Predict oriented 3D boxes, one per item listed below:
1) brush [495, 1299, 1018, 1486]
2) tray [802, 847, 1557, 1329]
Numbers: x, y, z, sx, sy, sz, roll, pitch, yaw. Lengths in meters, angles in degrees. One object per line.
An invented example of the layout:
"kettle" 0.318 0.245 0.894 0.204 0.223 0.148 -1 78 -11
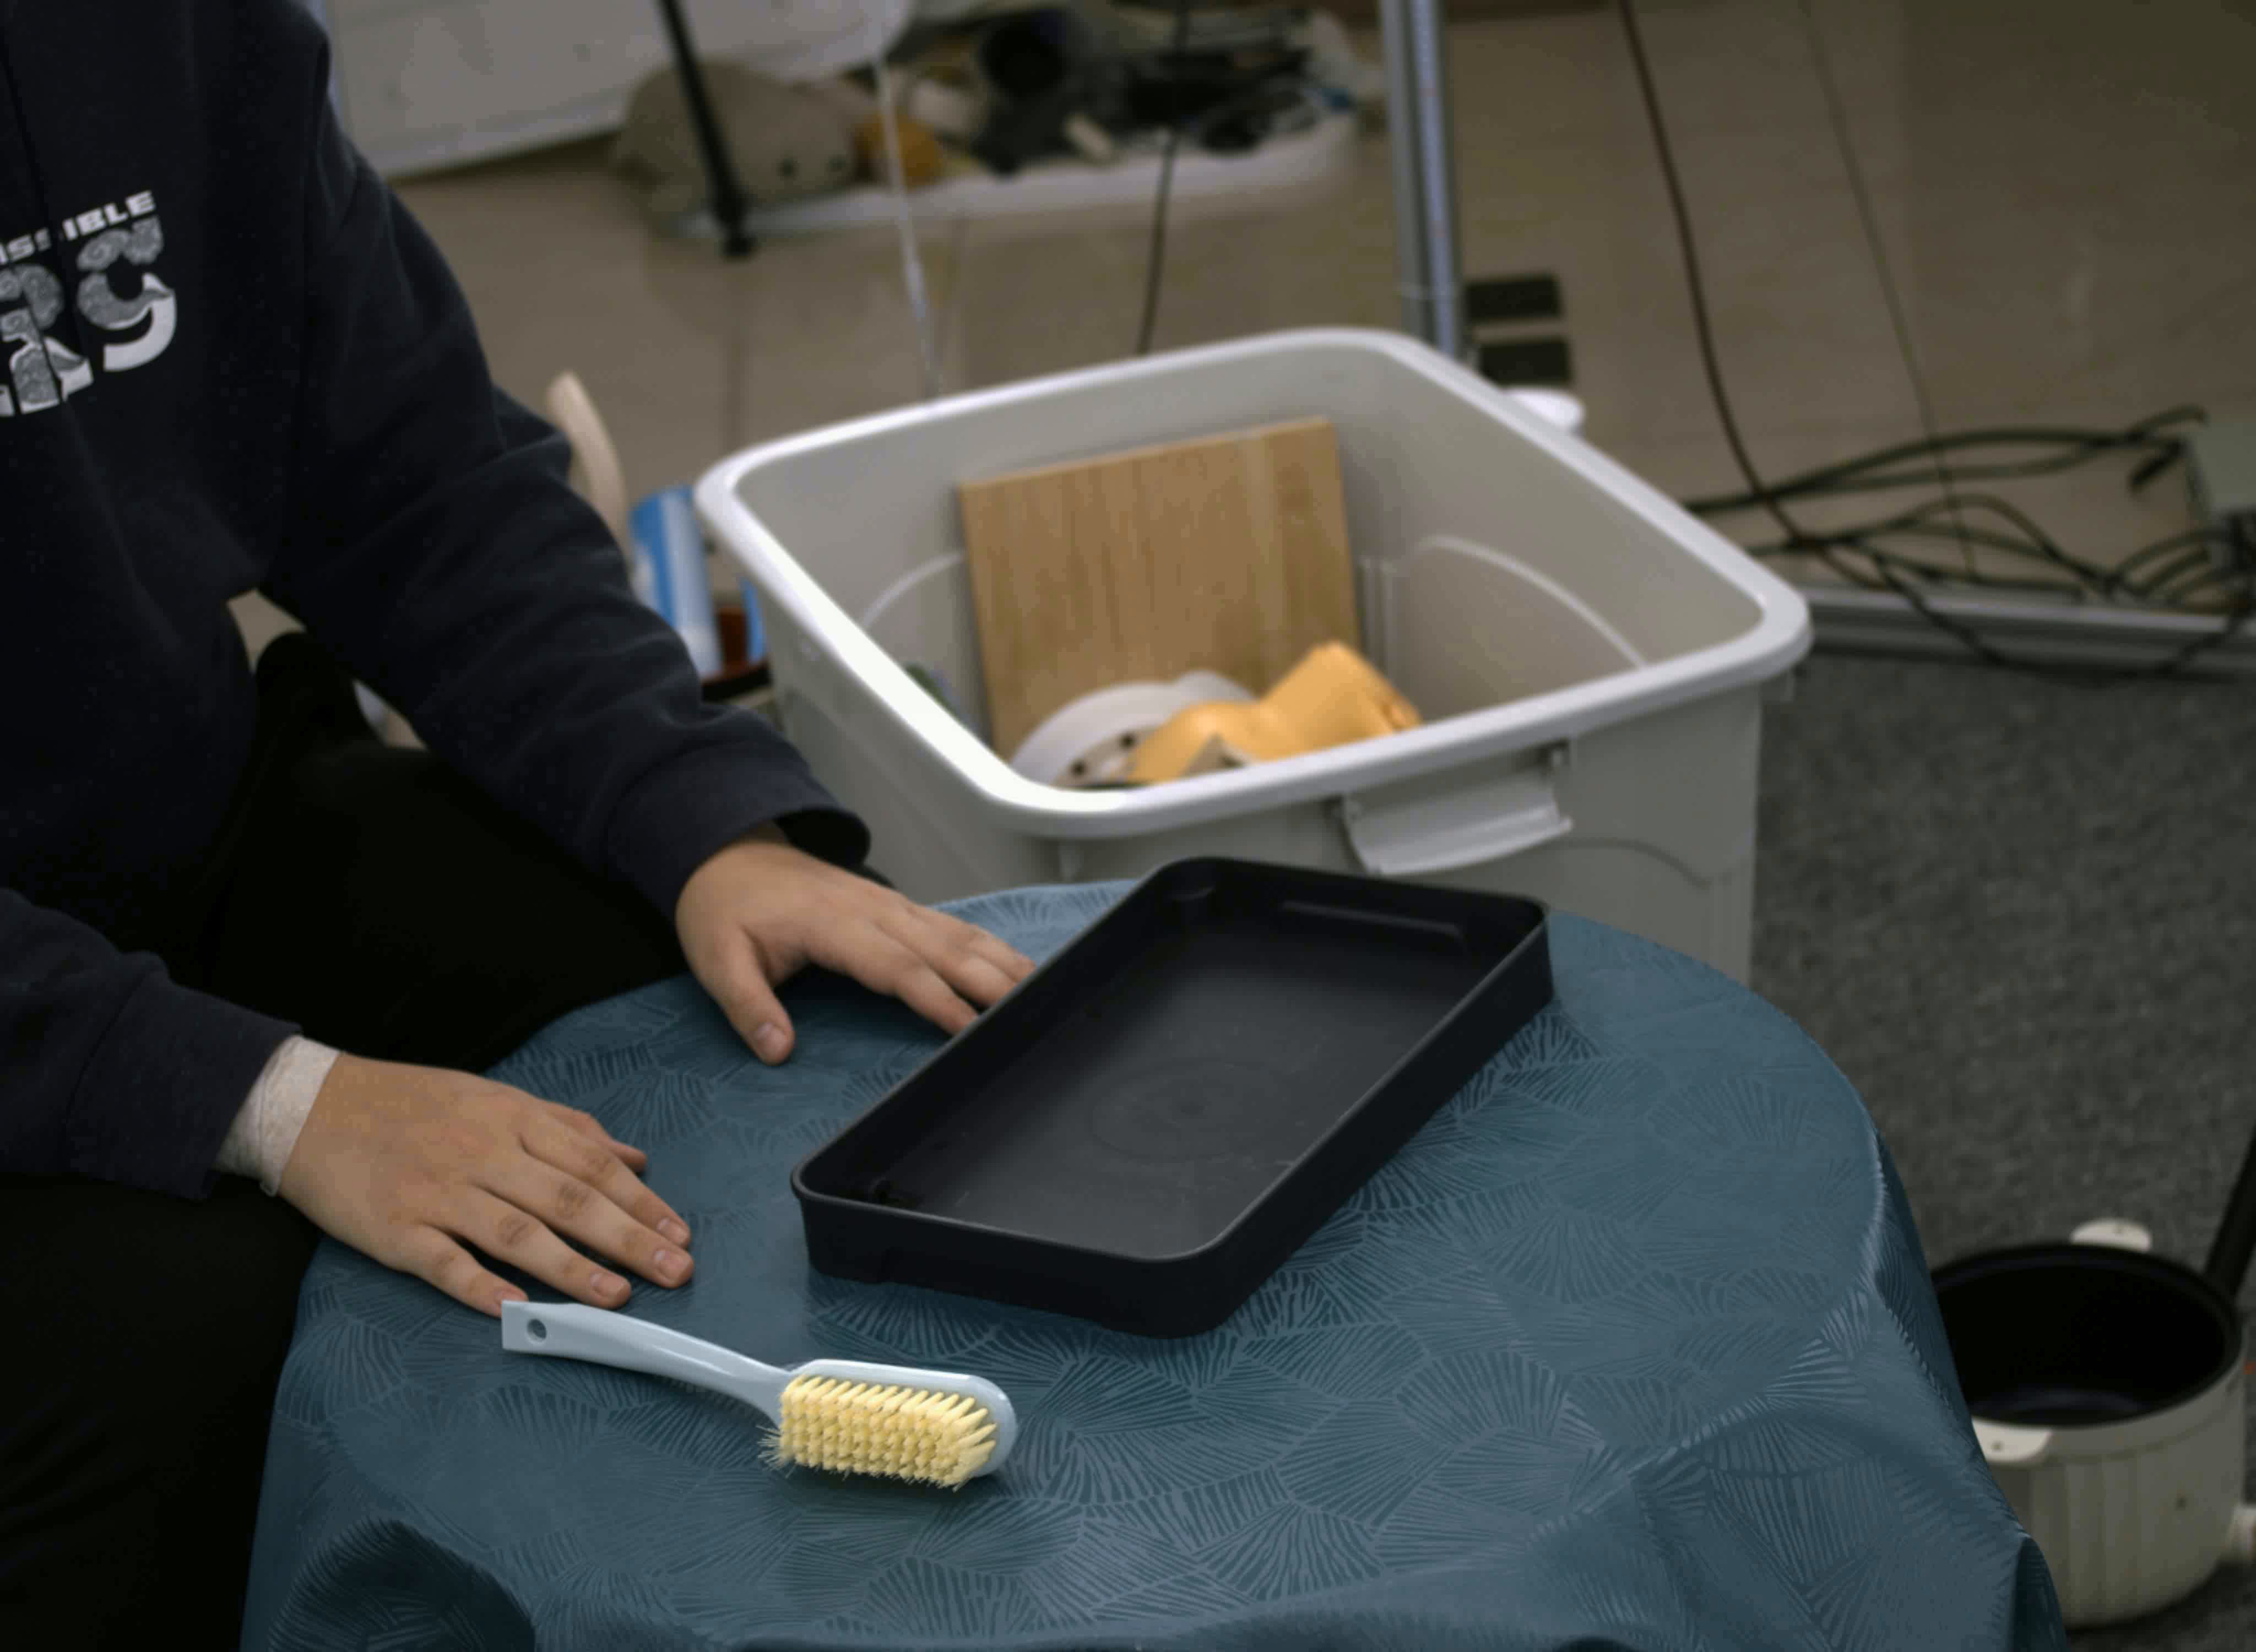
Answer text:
"brush" -0.141 0.197 2.012 0.227 0.038 0.049 11 19 35
"tray" 0.026 0.095 2.194 0.183 0.037 0.314 7 28 28
